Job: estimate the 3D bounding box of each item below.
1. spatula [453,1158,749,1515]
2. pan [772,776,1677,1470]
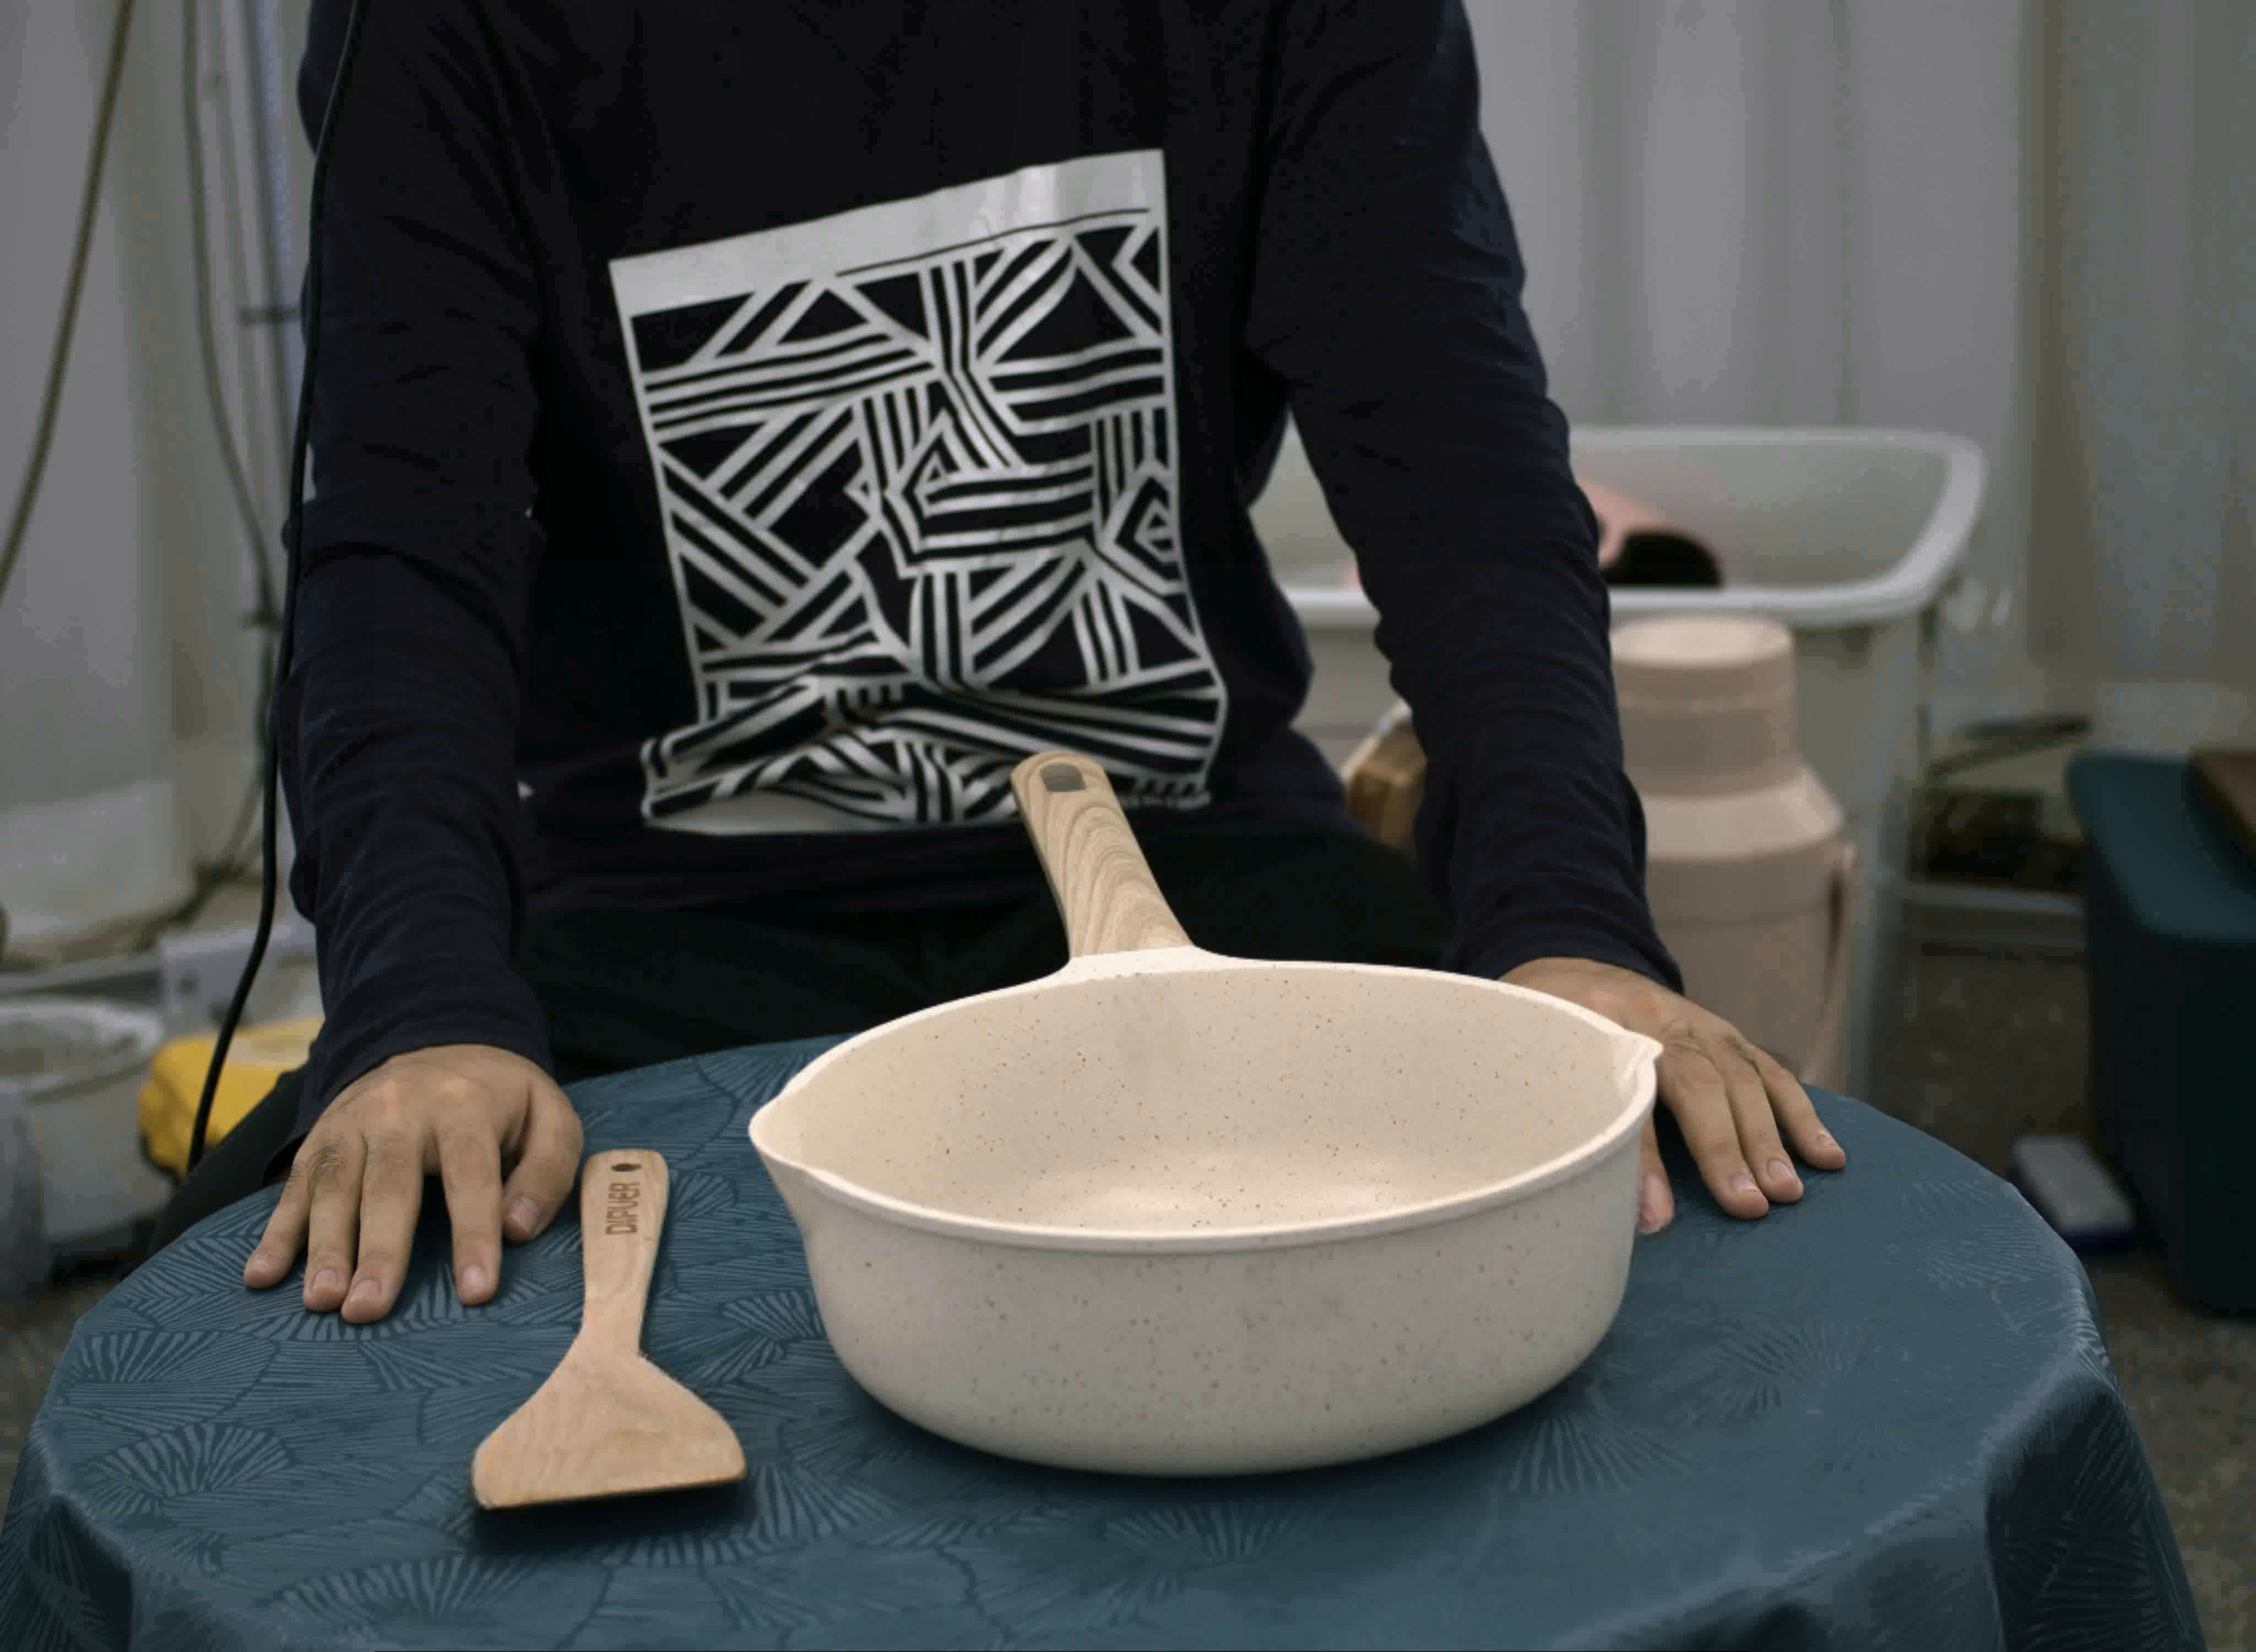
[{"bbox_3d":[-0.150,0.146,1.606,0.079,0.016,0.330,-4,14,-3],"label":"spatula"},{"bbox_3d":[0.015,0.083,1.647,0.262,0.101,0.438,-6,15,-9],"label":"pan"}]
